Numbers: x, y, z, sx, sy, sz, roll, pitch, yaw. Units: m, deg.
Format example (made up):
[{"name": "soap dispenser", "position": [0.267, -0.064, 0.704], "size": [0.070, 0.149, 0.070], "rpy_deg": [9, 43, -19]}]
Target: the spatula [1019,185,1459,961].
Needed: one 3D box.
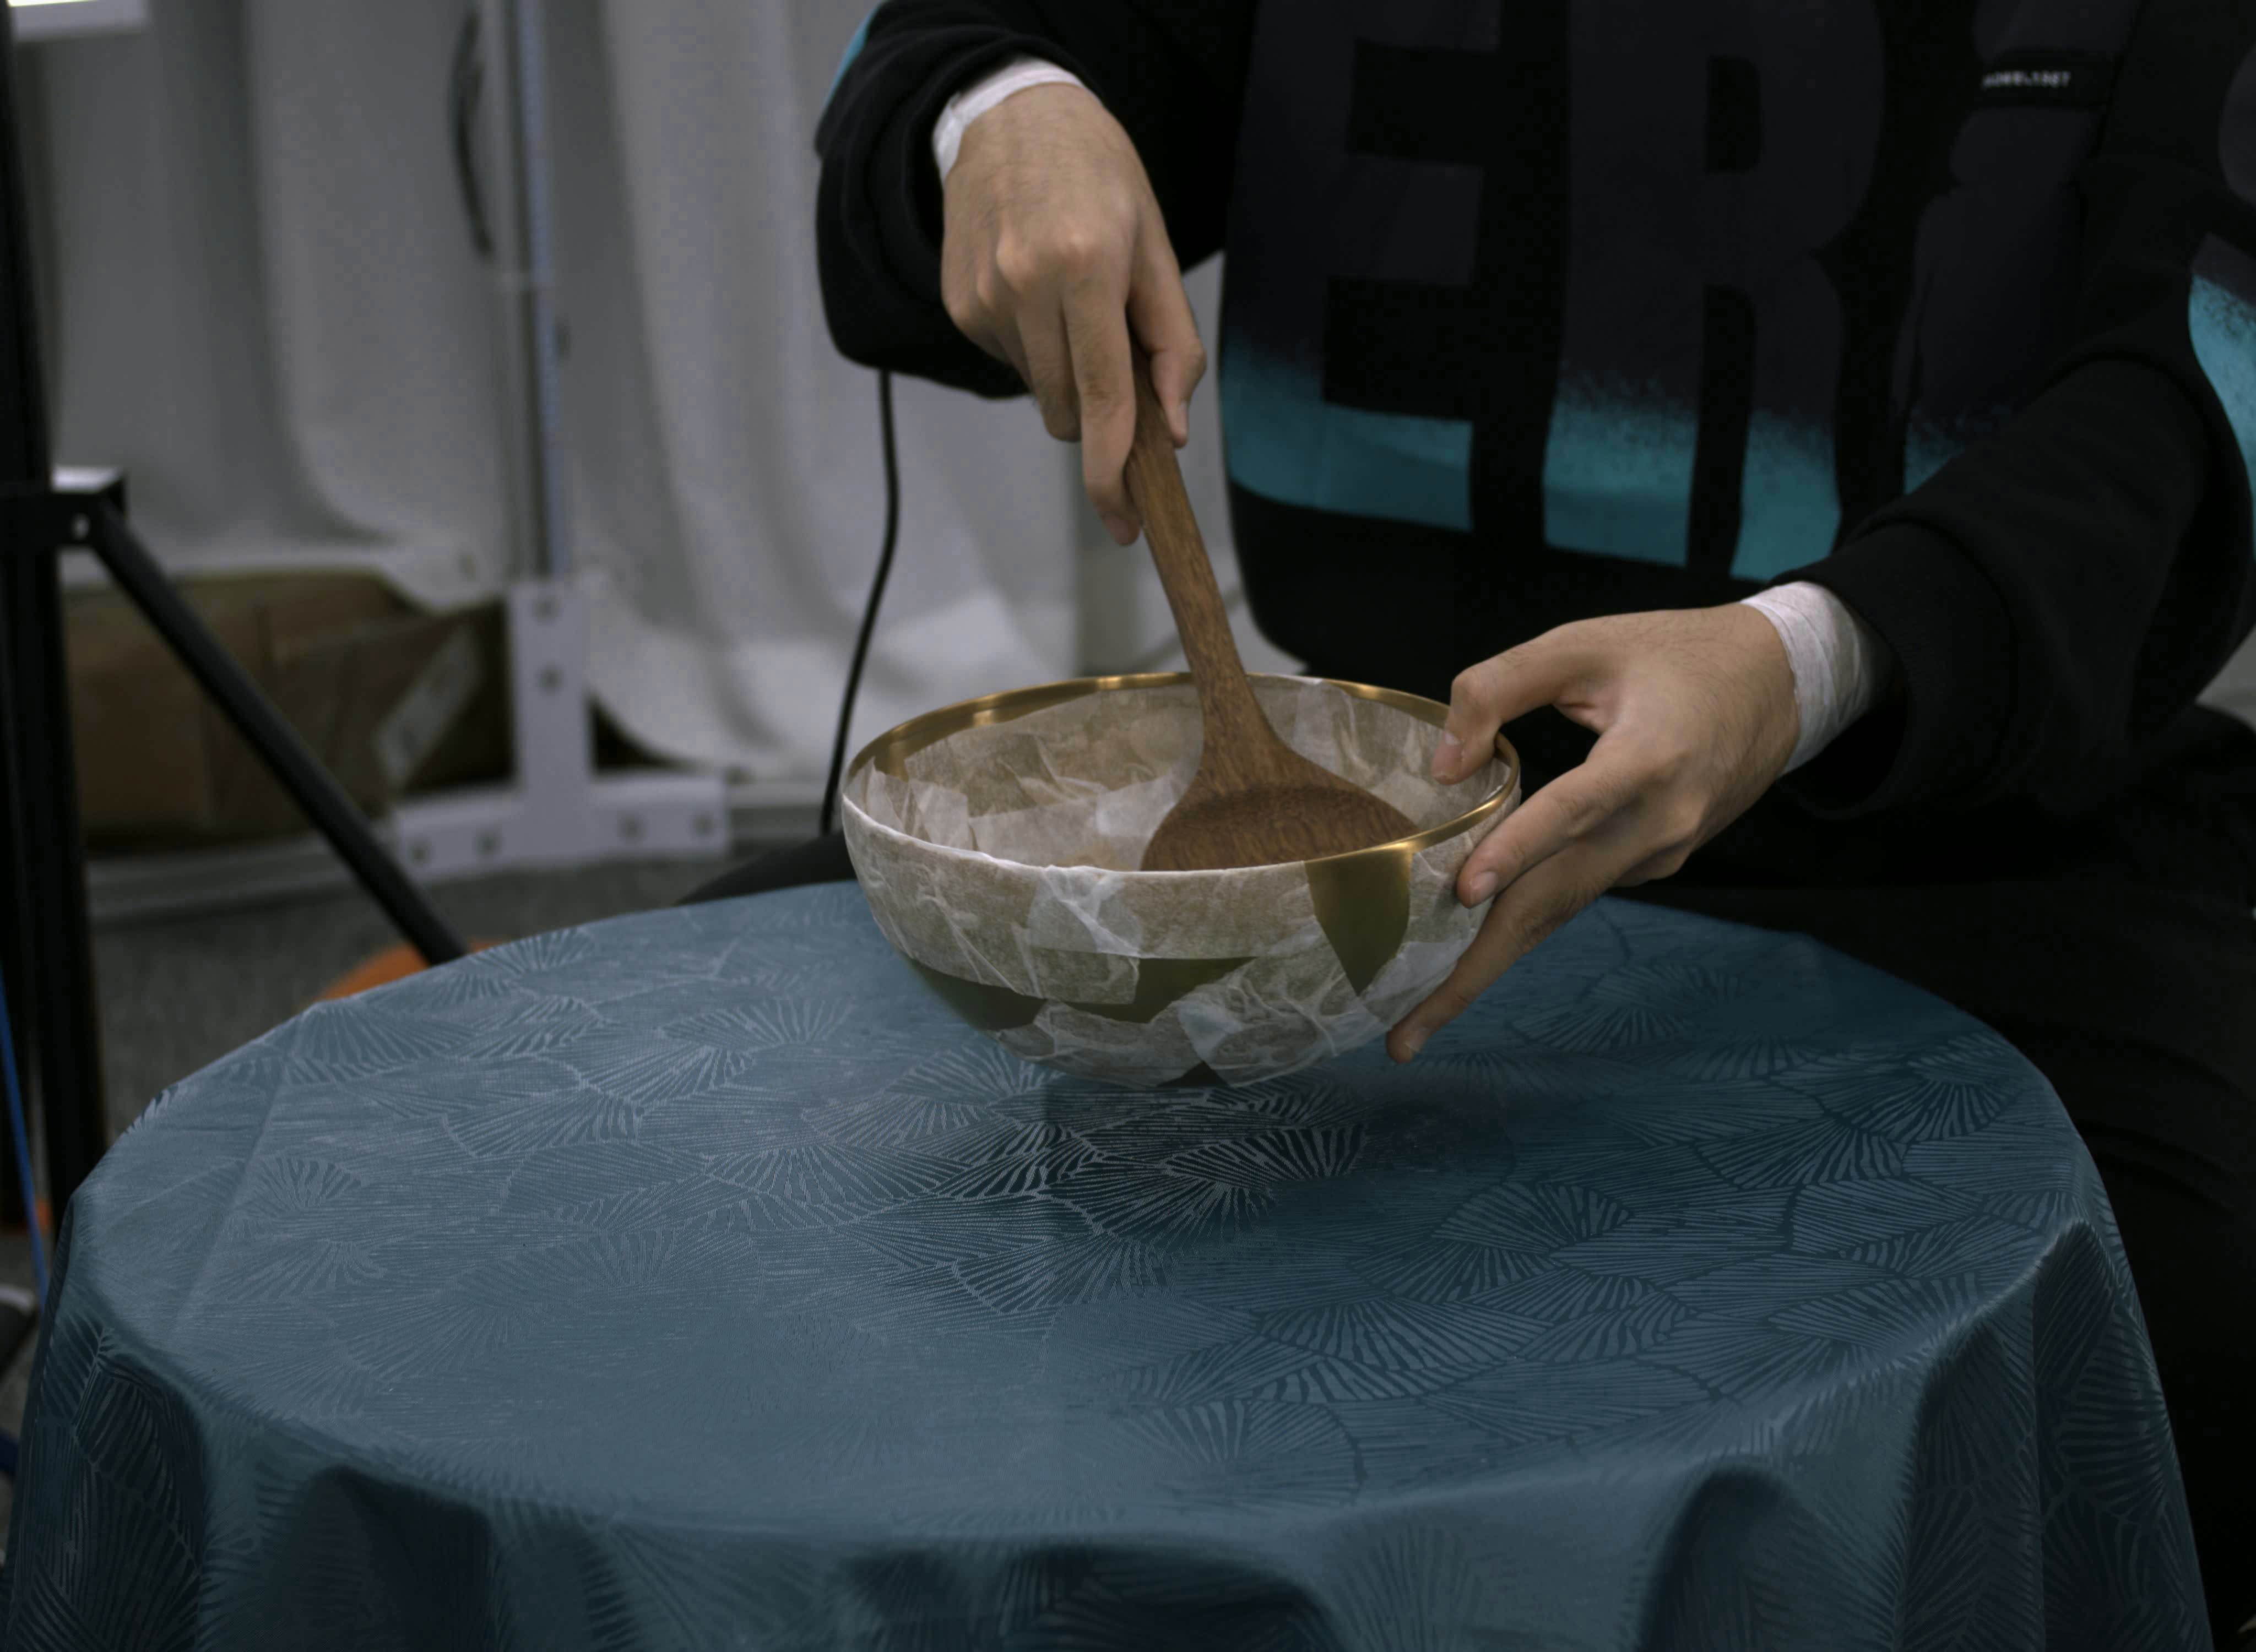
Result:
[{"name": "spatula", "position": [0.015, -0.084, 1.674], "size": [0.095, 0.015, 0.392], "rpy_deg": [-10, 46, -7]}]

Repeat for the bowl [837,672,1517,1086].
[{"name": "bowl", "position": [0.019, 0.023, 1.584], "size": [0.213, 0.094, 0.216], "rpy_deg": [-3, 16, -1]}]
